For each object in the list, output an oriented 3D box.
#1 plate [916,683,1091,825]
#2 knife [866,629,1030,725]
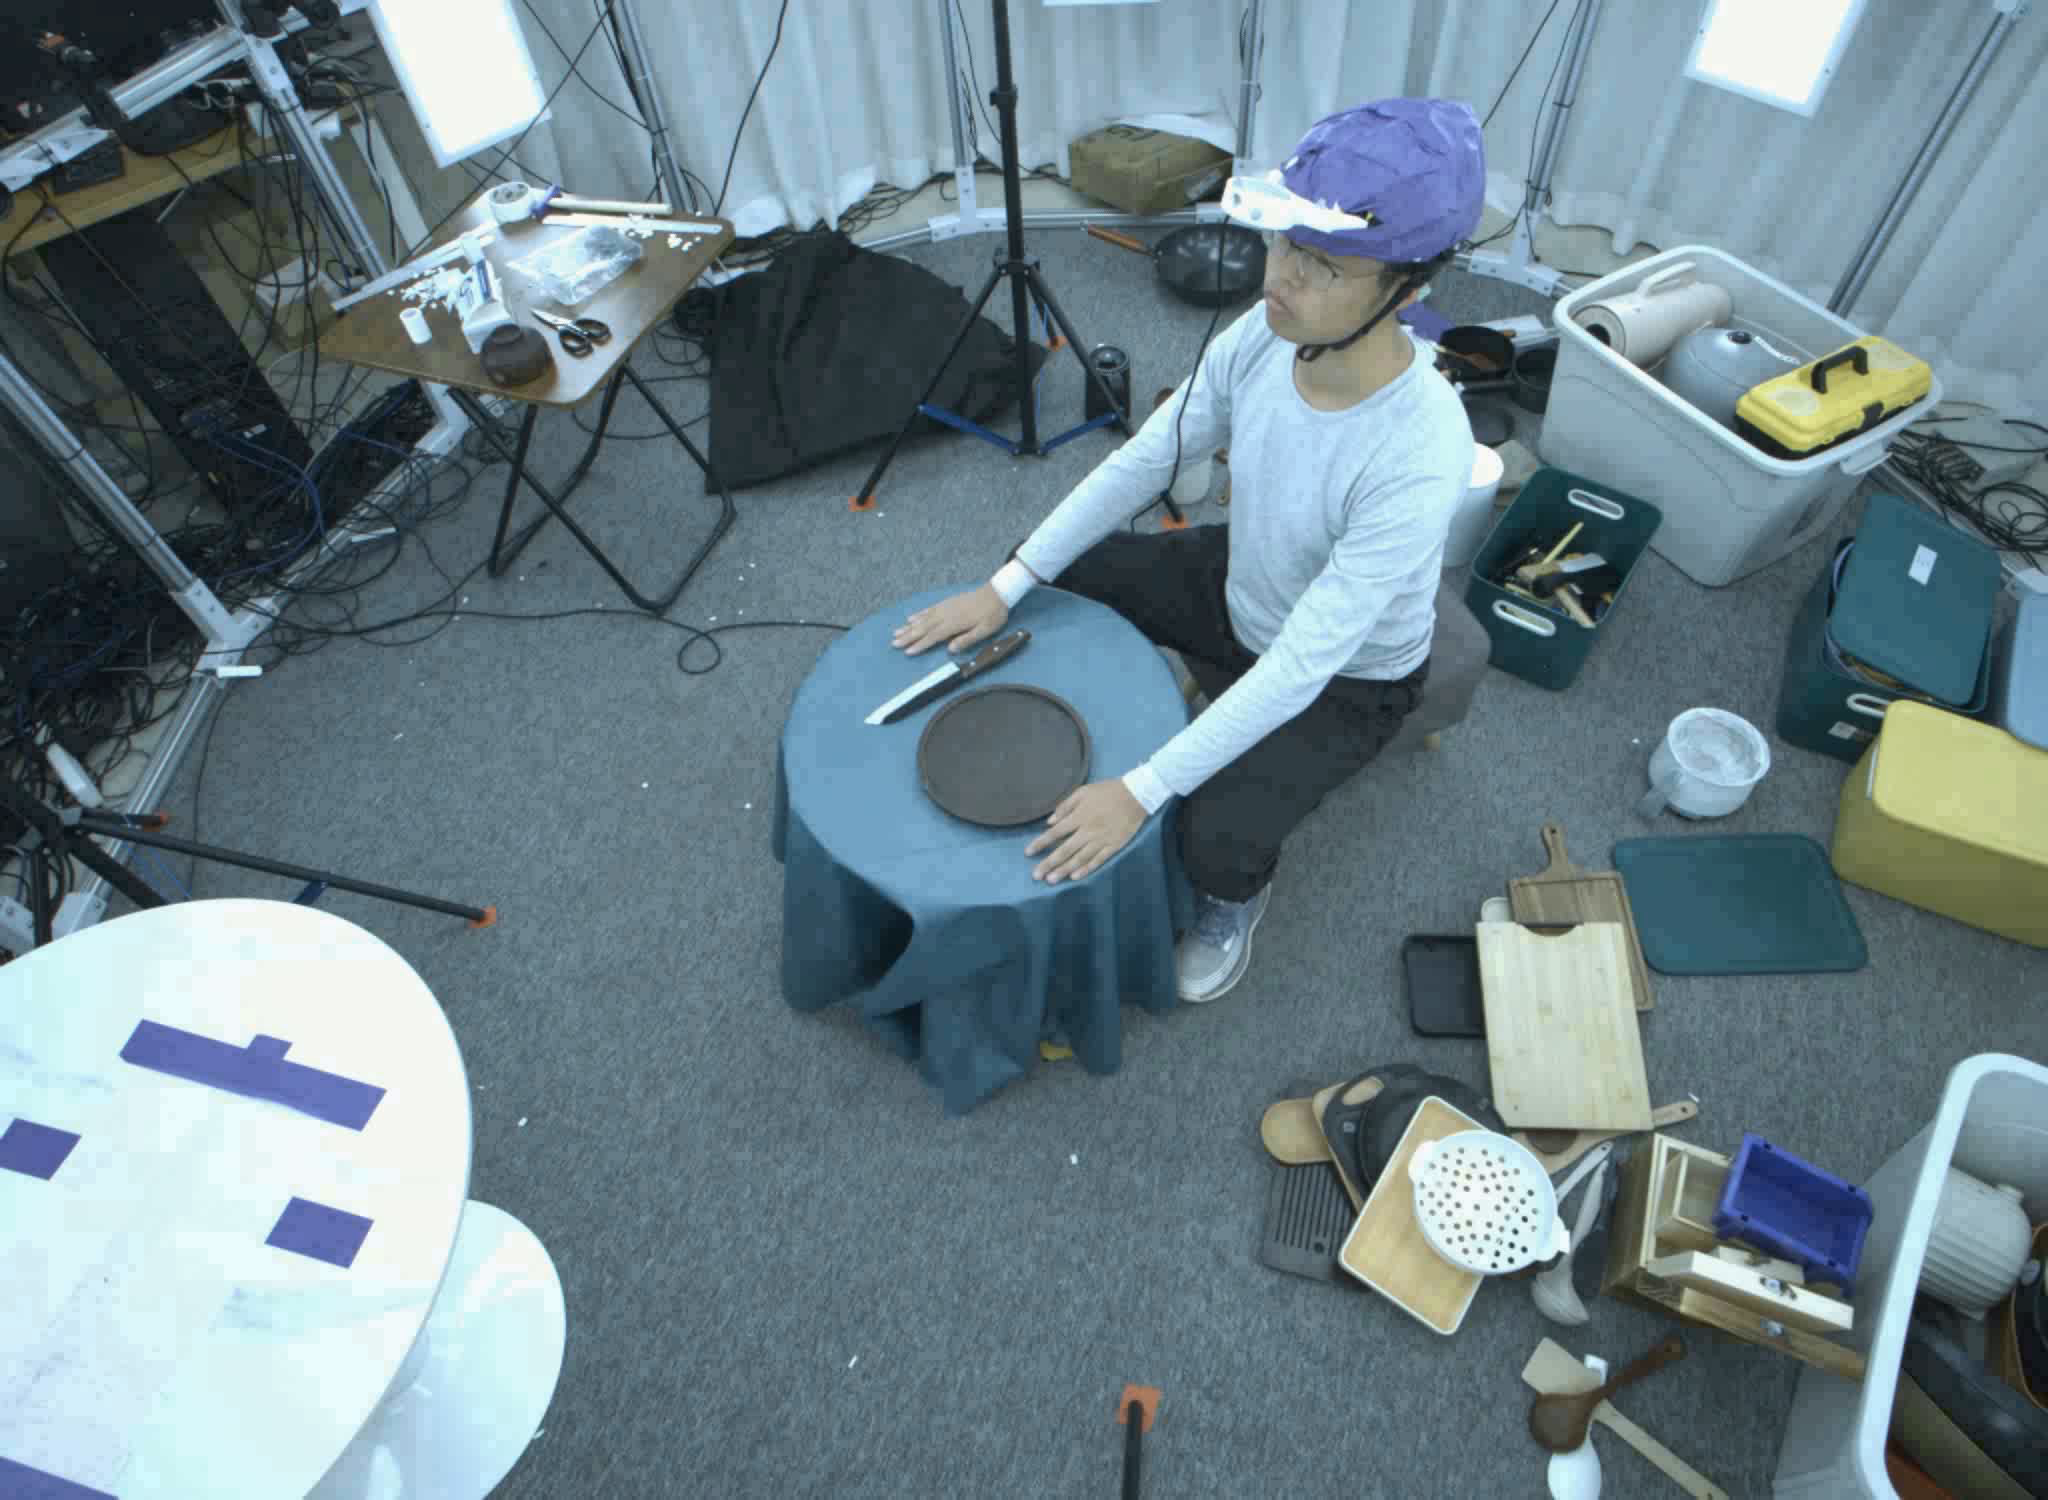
[{"bbox_3d":[-0.030,0.005,1.777,0.255,0.029,0.252,0,52,1],"label":"plate"},{"bbox_3d":[-0.115,-0.111,1.868,0.291,0.020,0.049,-30,54,-16],"label":"knife"}]
